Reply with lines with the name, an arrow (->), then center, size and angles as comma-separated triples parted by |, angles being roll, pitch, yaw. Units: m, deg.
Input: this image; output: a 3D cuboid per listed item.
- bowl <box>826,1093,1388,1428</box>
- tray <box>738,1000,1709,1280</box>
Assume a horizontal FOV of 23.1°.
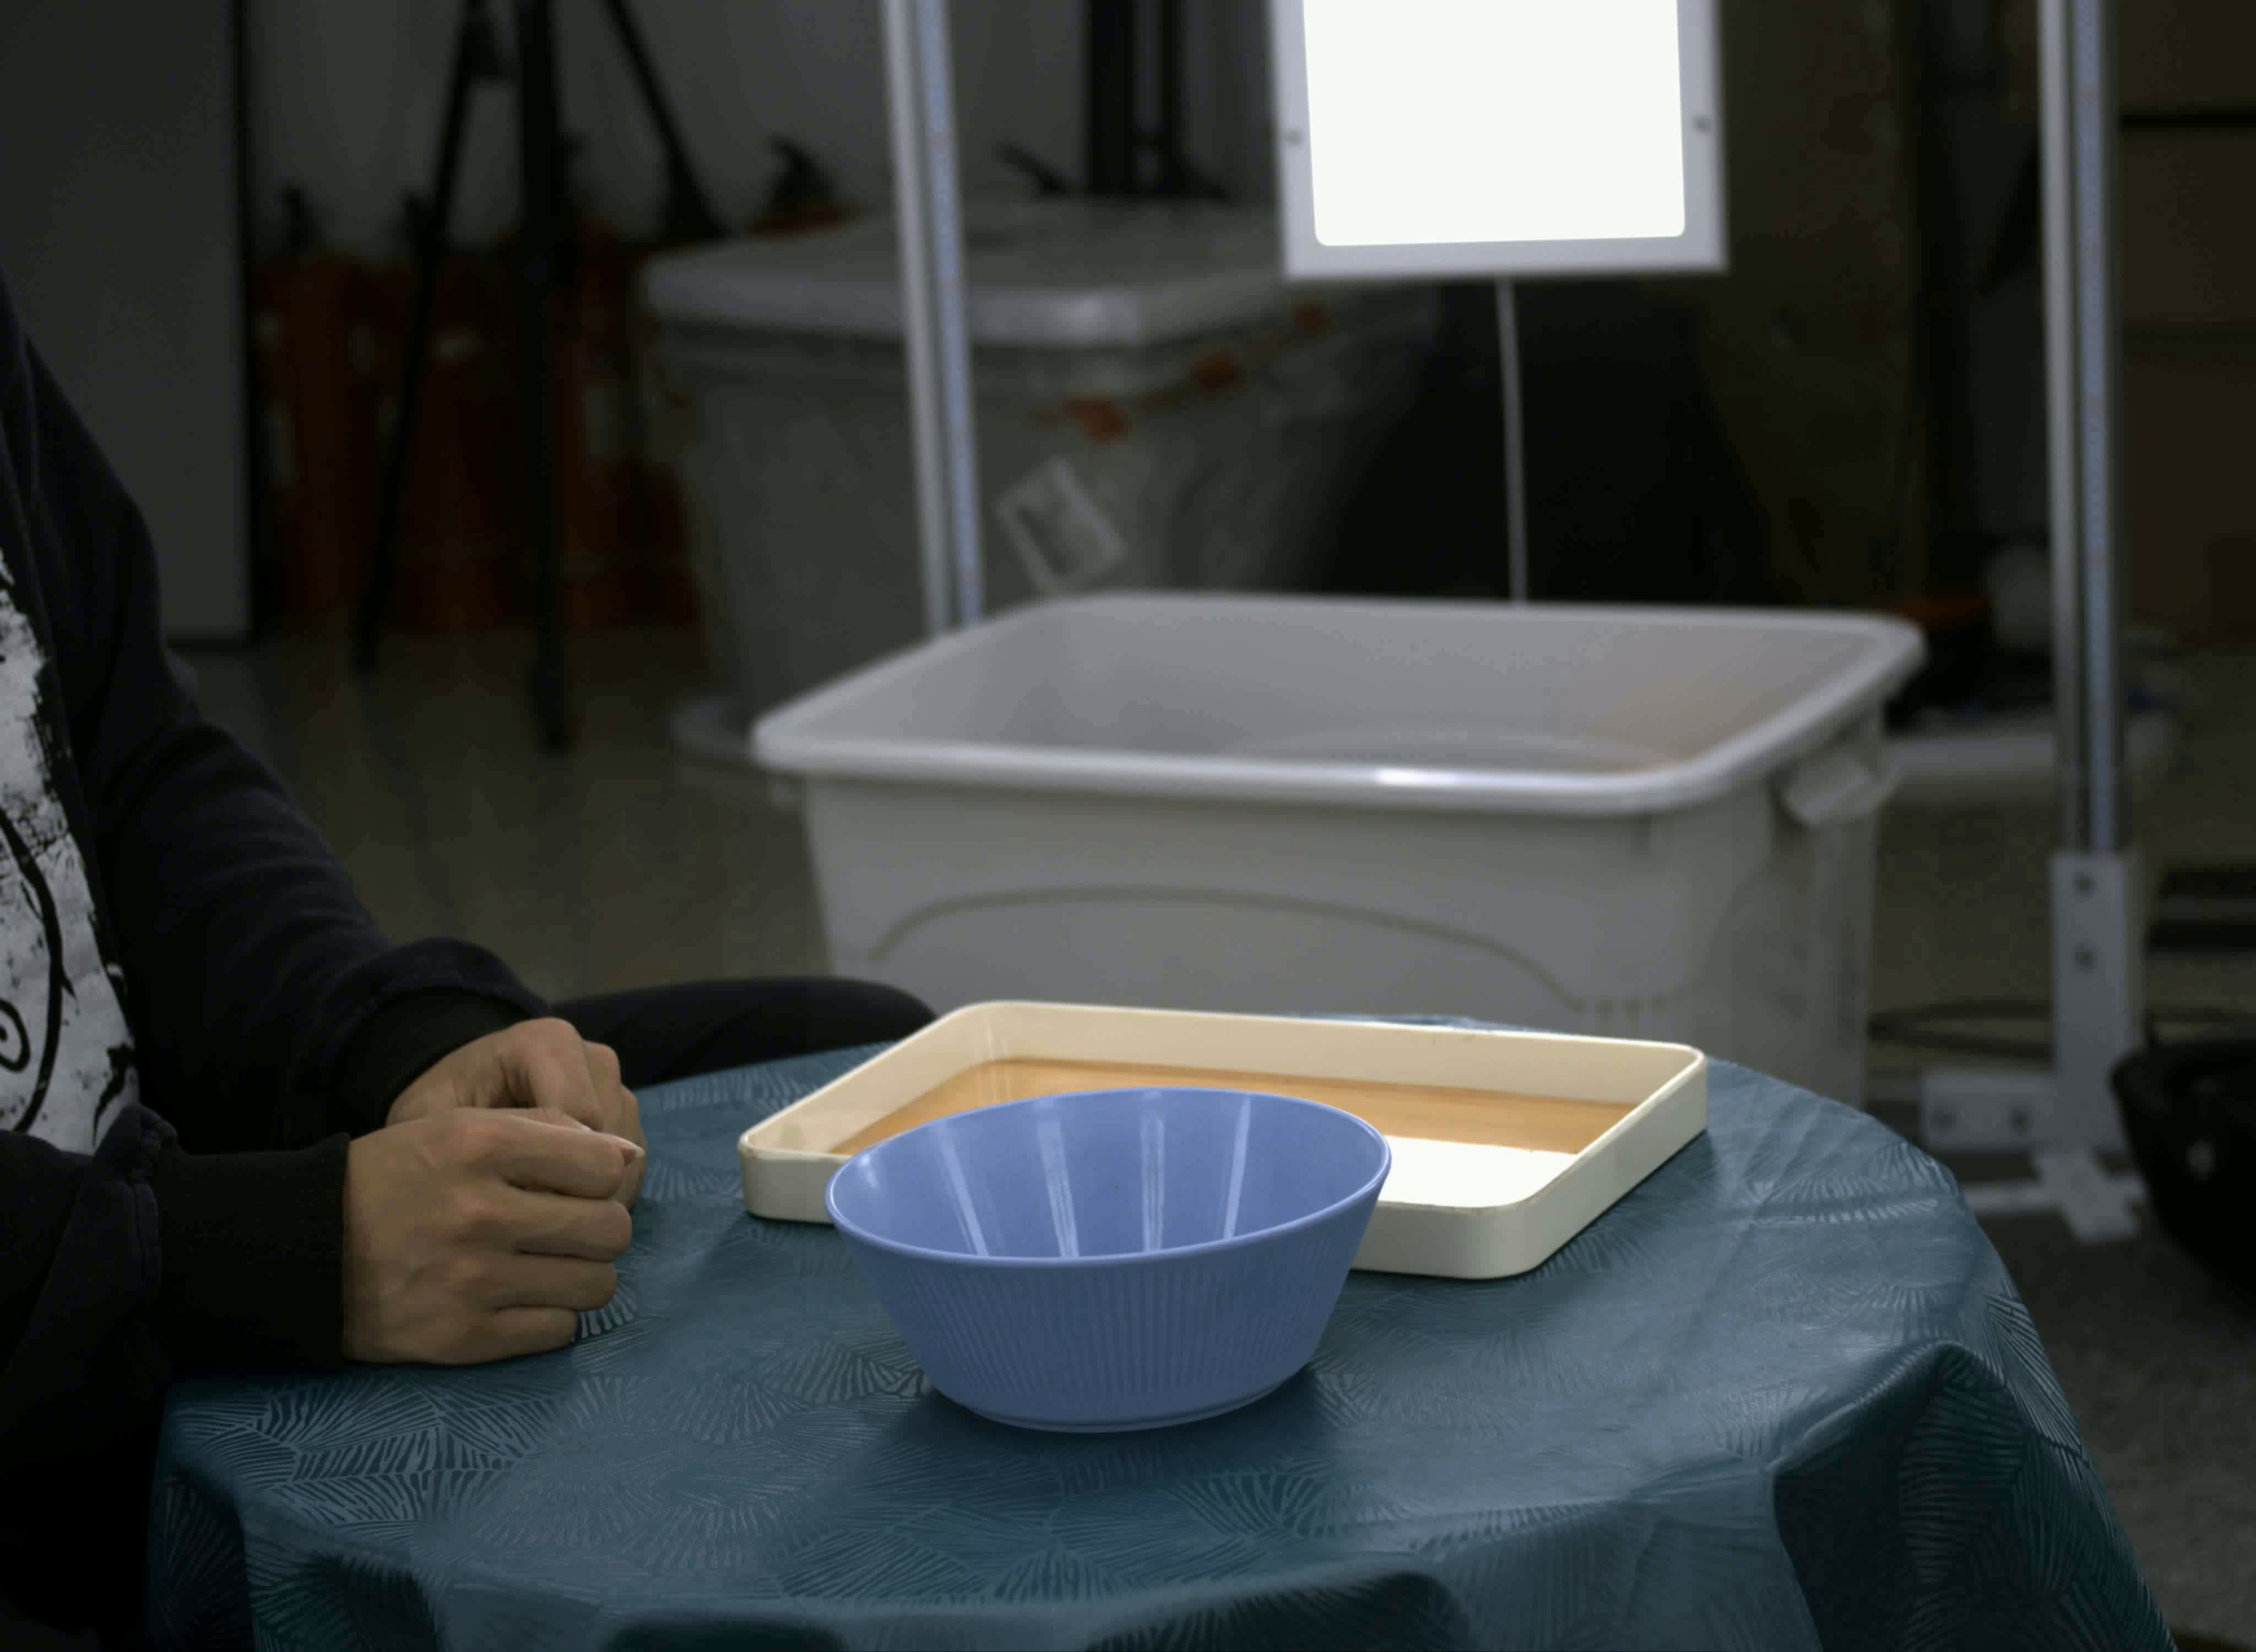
bowl -> -0.005, 0.137, 1.707 | 0.175, 0.070, 0.176 | -4, 13, 0
tray -> 0.034, 0.107, 1.912 | 0.305, 0.027, 0.187 | 3, 16, 28
